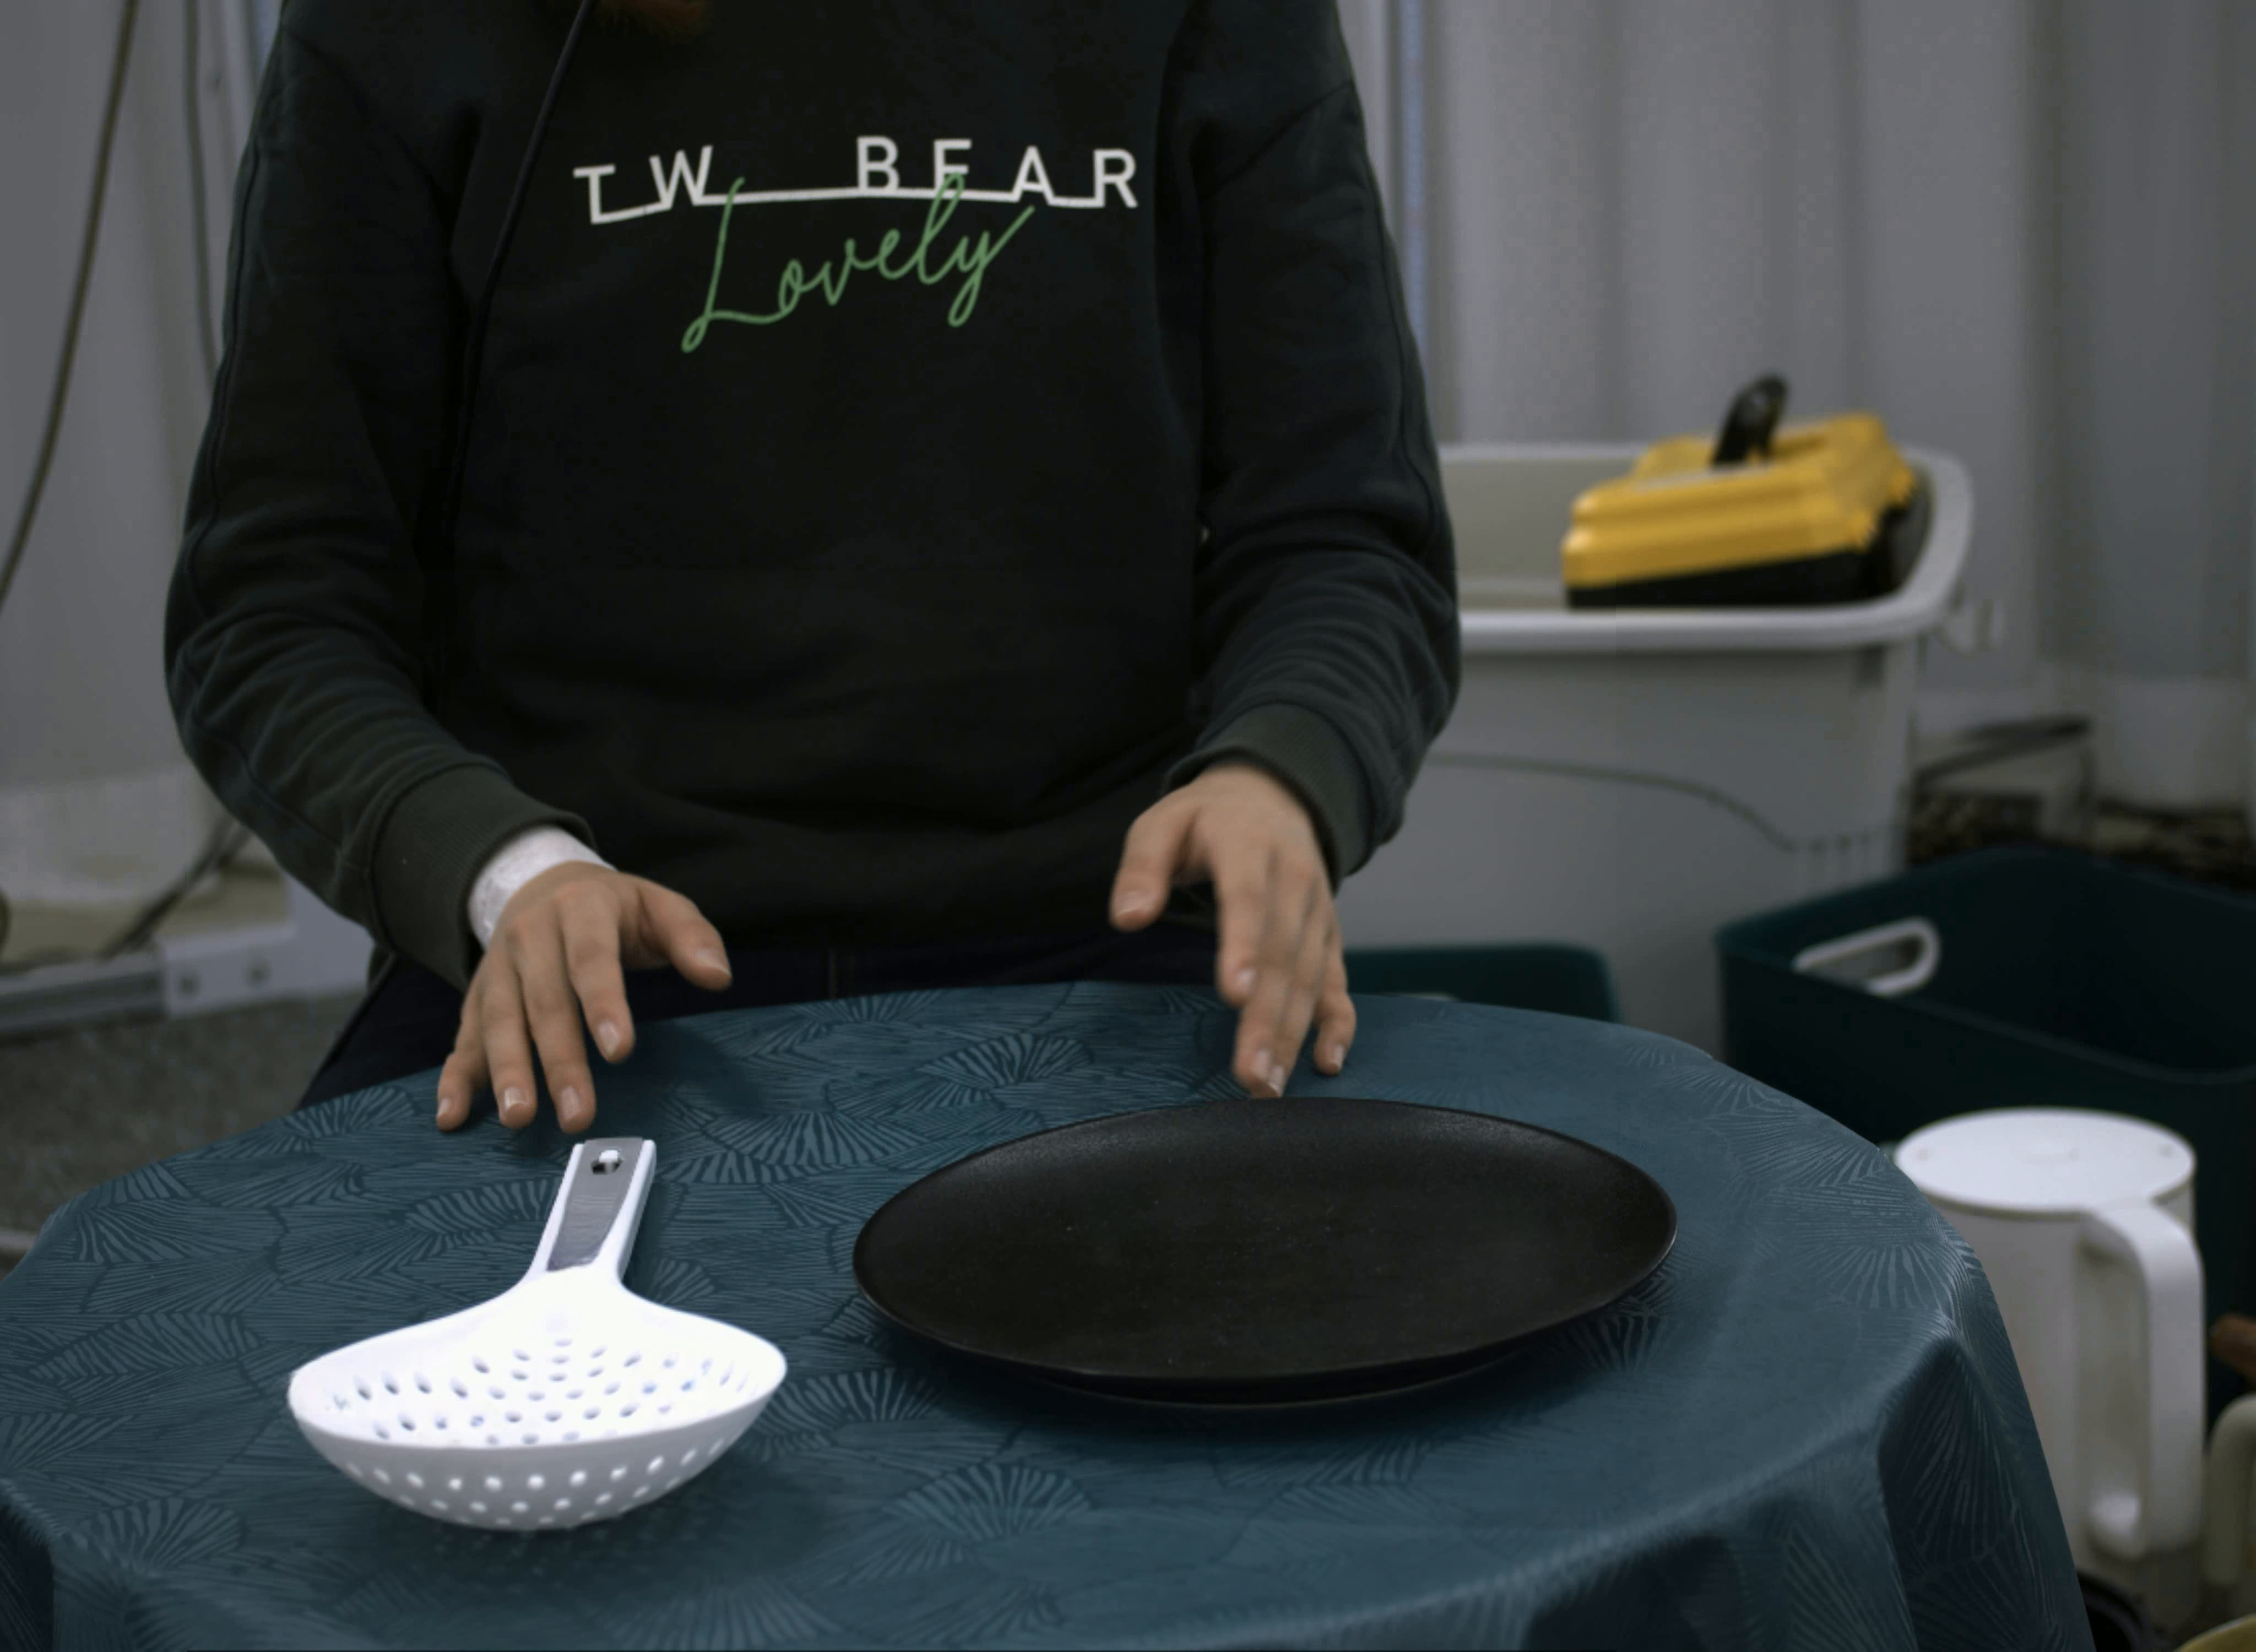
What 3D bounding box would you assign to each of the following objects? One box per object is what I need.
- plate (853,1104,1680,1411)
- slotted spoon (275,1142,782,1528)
[{"bbox_3d":[0.041,0.129,1.610,0.243,0.023,0.246,-3,15,0],"label":"plate"},{"bbox_3d":[-0.161,0.137,1.574,0.135,0.045,0.352,-1,14,0],"label":"slotted spoon"}]
